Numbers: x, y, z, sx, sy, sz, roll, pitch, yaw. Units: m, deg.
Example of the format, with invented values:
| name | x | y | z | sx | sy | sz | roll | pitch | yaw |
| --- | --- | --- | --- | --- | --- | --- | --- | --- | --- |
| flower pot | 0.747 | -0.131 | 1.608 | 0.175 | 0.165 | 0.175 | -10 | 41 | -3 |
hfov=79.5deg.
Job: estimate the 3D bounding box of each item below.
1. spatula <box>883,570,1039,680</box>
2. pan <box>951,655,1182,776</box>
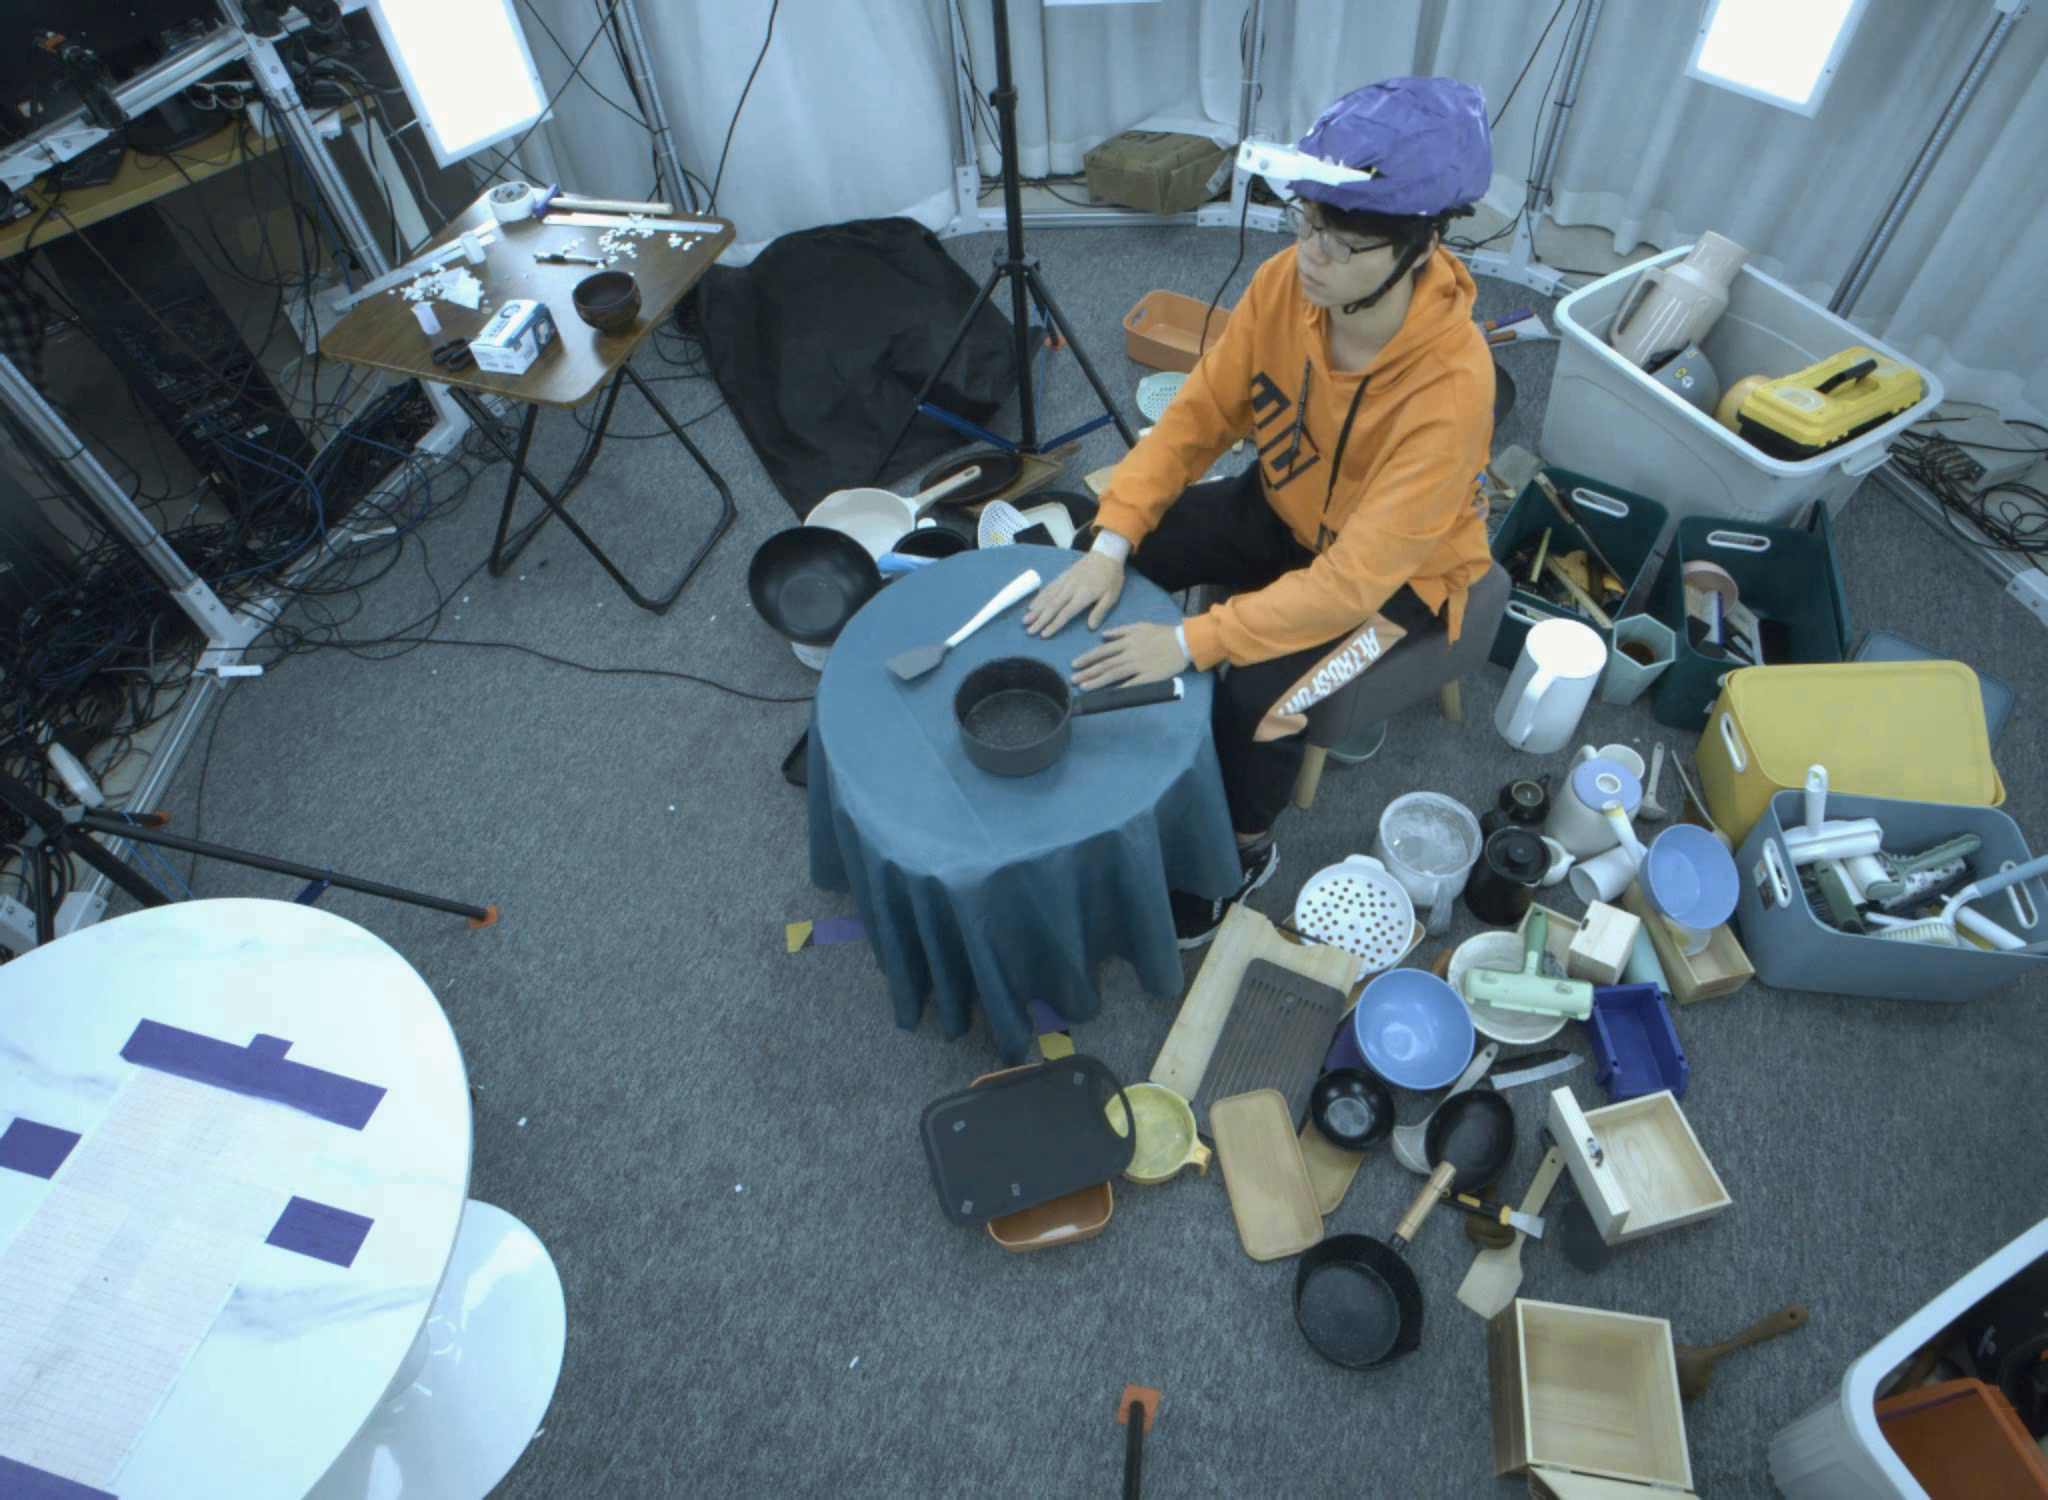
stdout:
| name | x | y | z | sx | sy | sz | roll | pitch | yaw |
| --- | --- | --- | --- | --- | --- | --- | --- | --- | --- |
| spatula | -0.093 | -0.193 | 1.907 | 0.290 | 0.032 | 0.058 | -37 | 64 | -22 |
| pan | 0.064 | -0.054 | 1.771 | 0.328 | 0.087 | 0.170 | -3 | 55 | 2 |
